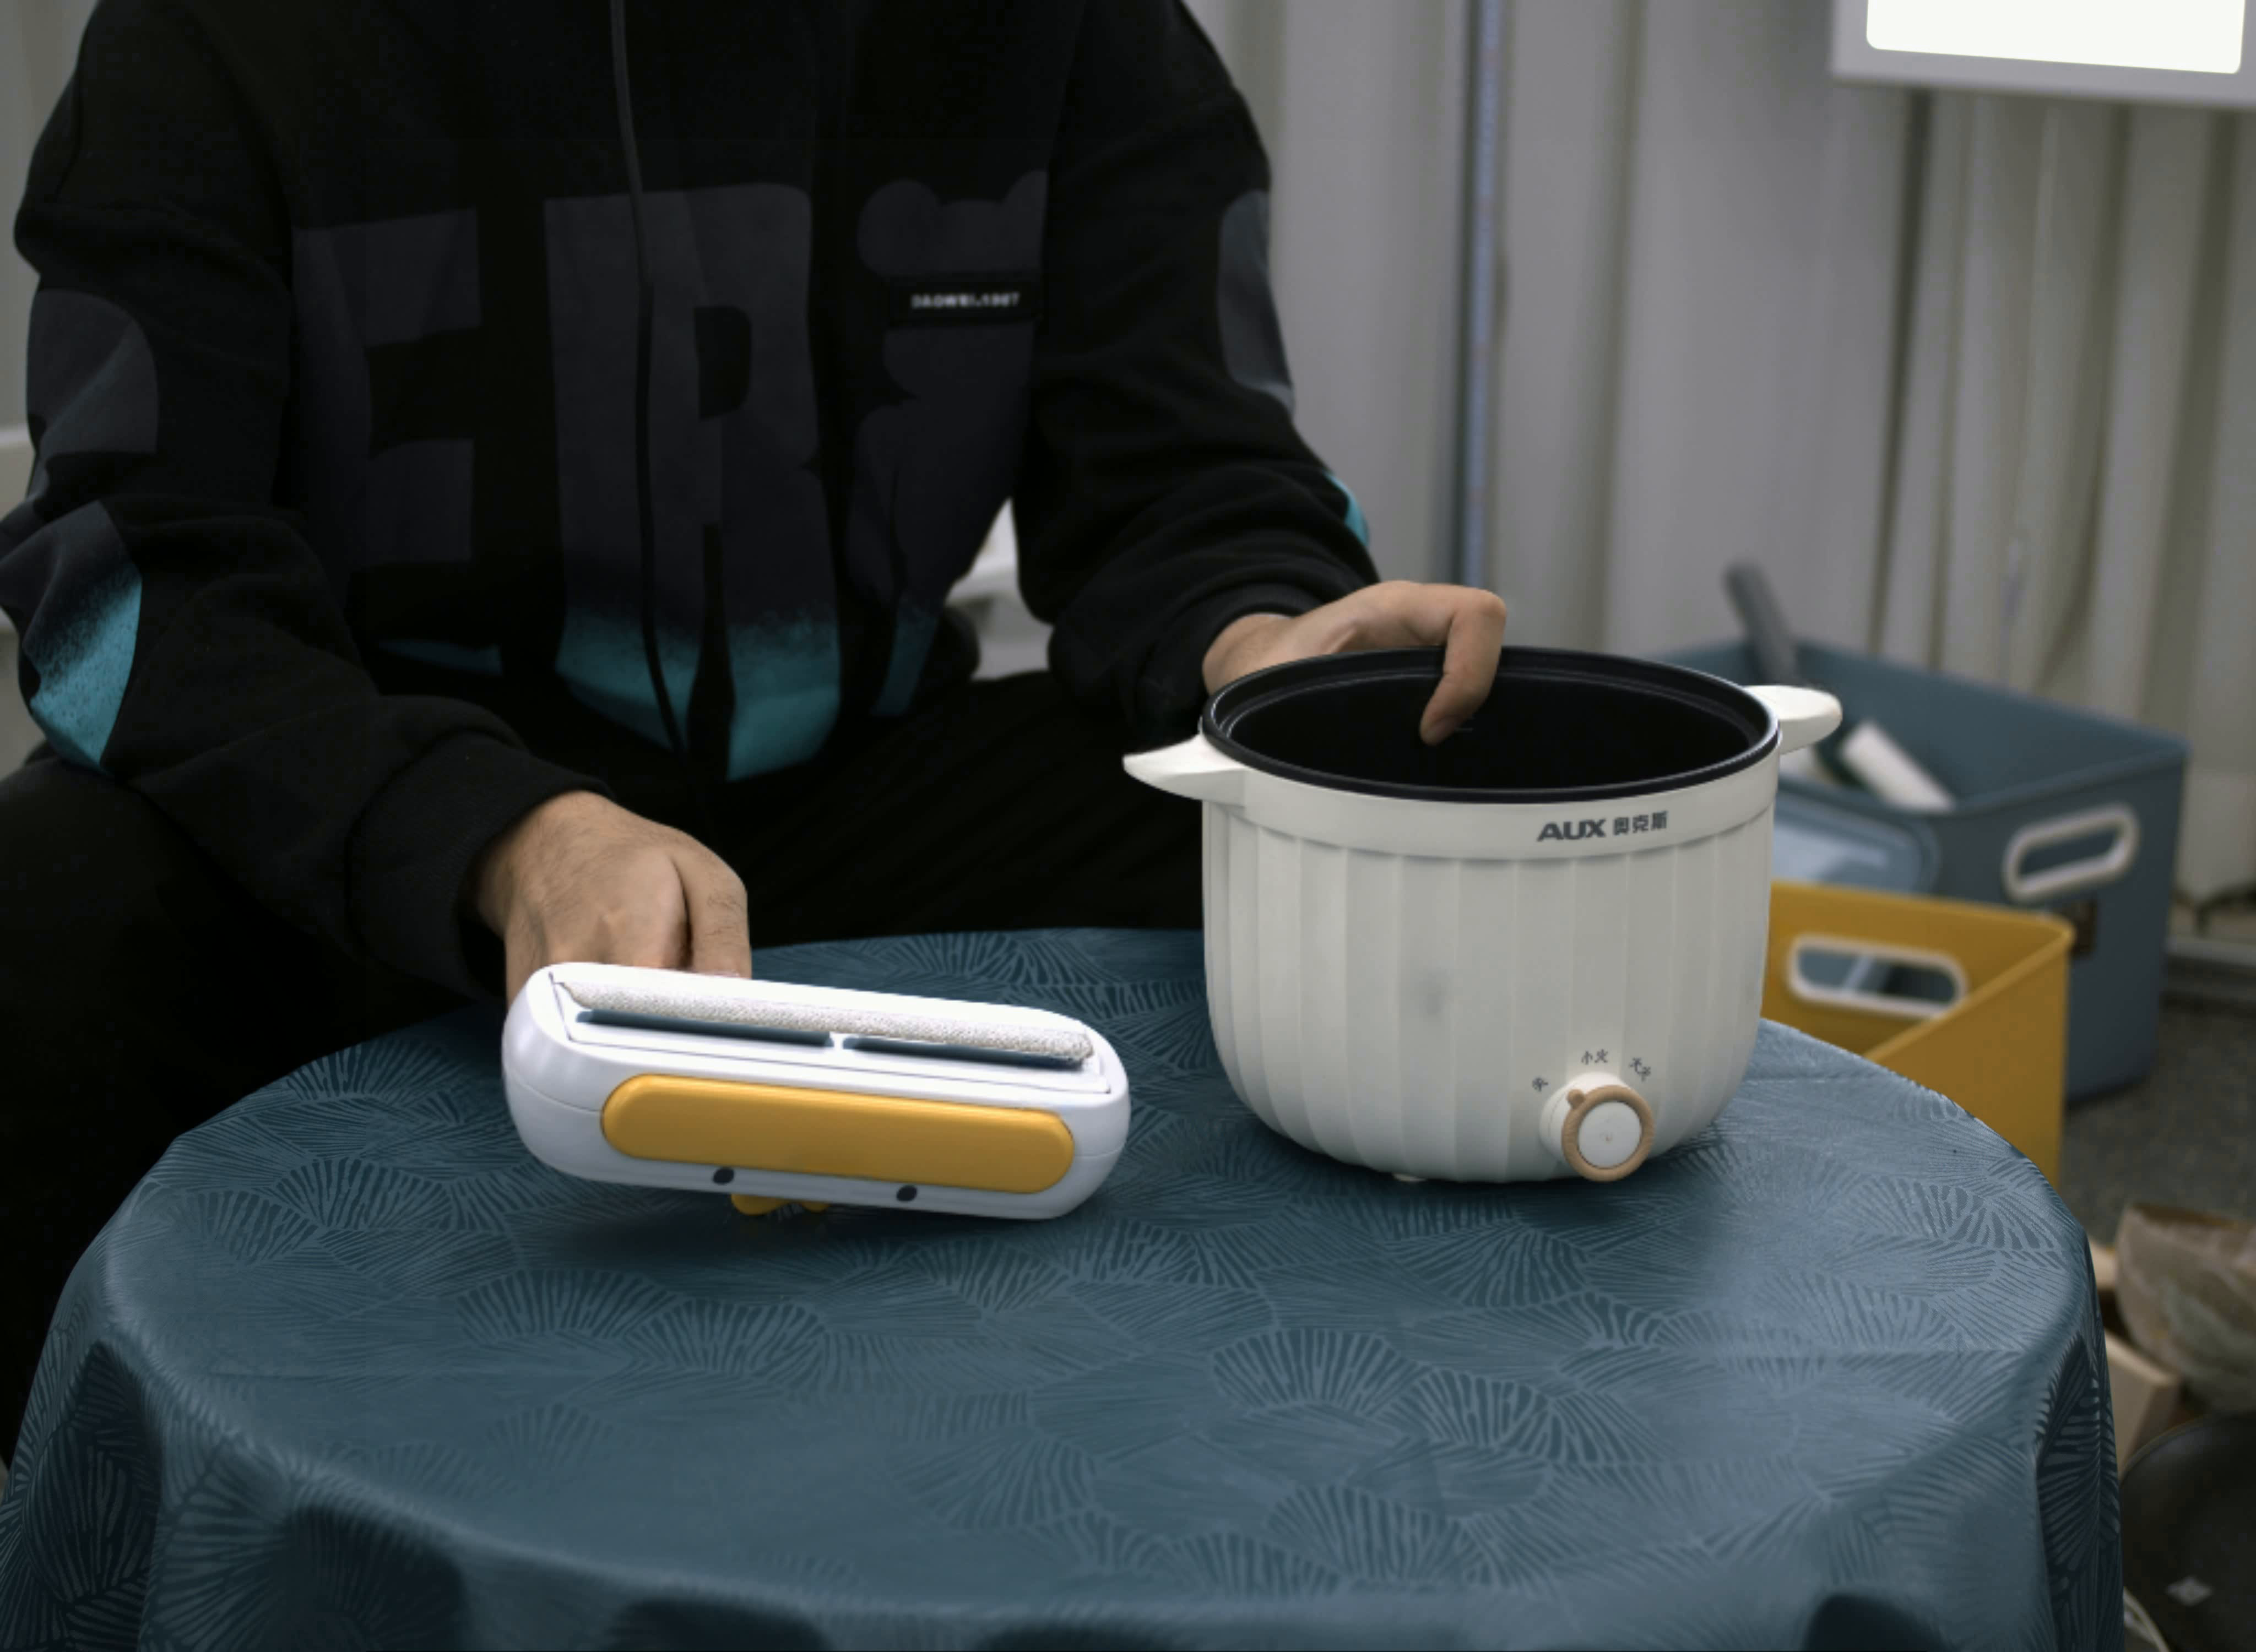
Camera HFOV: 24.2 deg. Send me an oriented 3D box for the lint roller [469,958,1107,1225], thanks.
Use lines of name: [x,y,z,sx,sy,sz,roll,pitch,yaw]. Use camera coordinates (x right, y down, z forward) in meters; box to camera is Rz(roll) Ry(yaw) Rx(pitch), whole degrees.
lint roller: [-0.114,0.067,1.633,0.193,0.075,0.190,3,18,-14]

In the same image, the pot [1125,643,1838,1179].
pot: [0.116,0.030,1.658,0.241,0.144,0.188,-7,15,-19]
